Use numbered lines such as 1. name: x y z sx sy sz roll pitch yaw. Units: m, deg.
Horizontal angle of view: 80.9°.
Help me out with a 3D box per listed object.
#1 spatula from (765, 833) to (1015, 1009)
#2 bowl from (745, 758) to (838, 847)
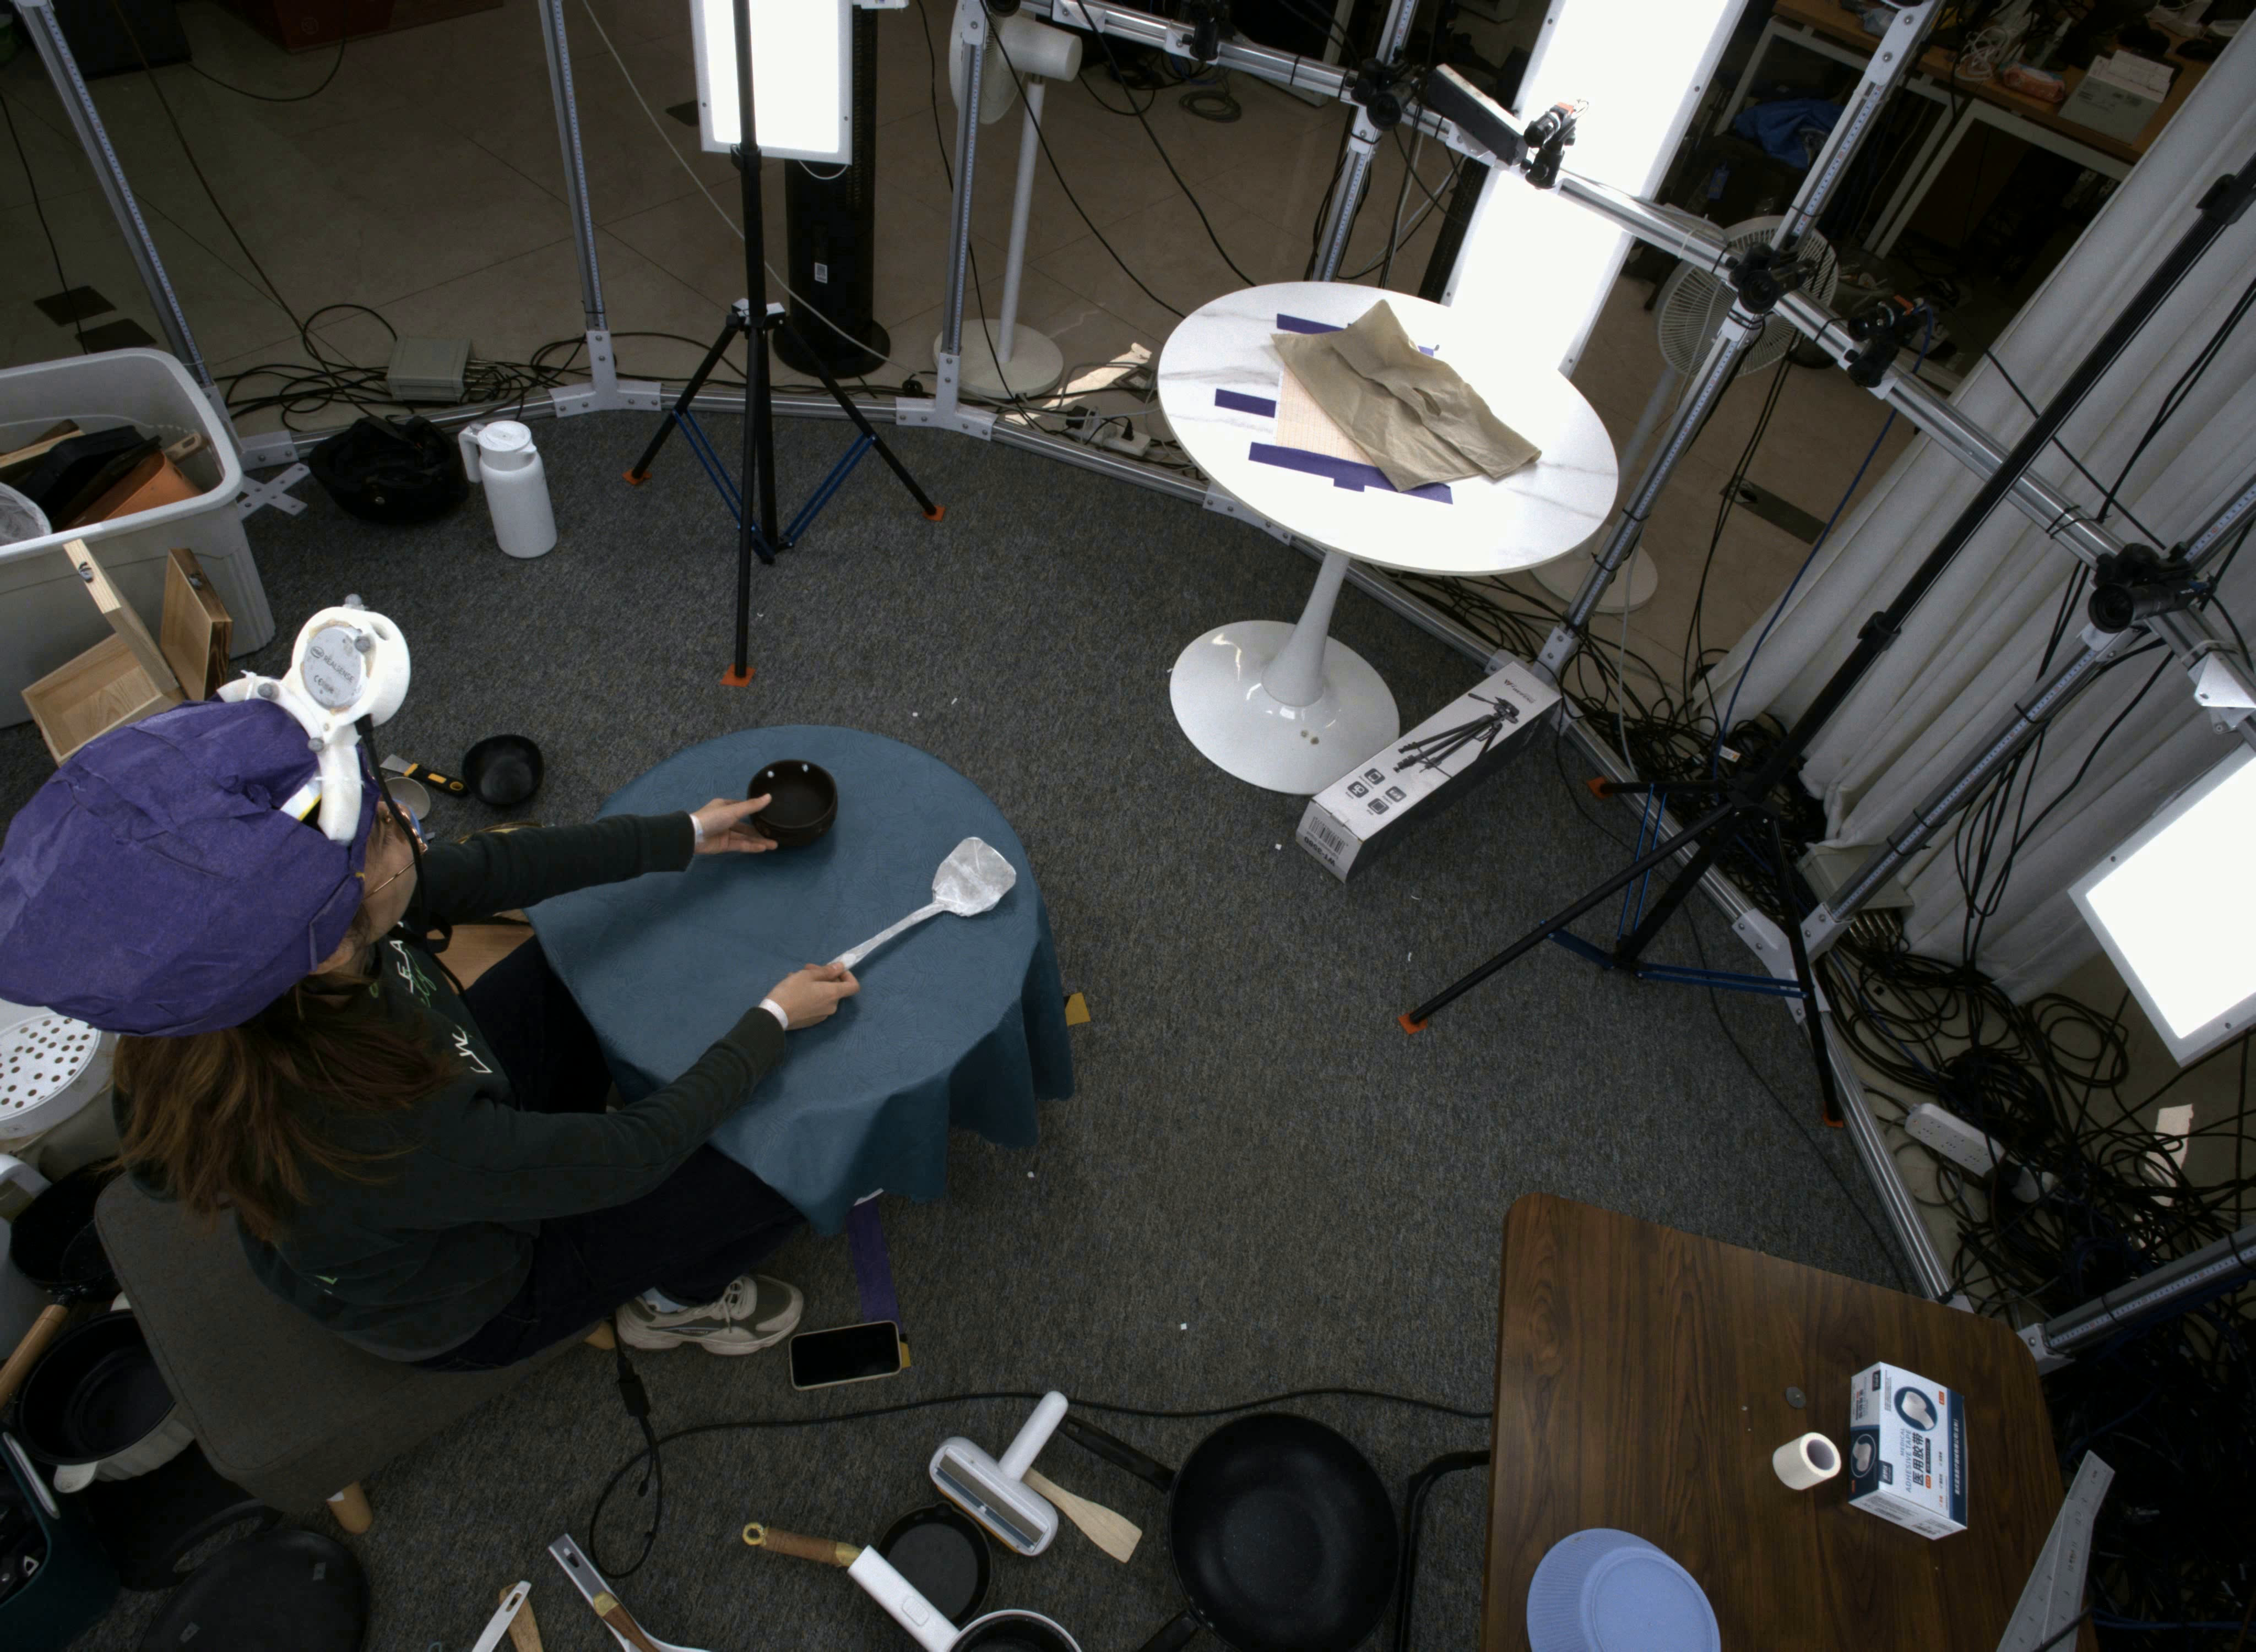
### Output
1. spatula: -0.299 0.125 1.637 0.096 0.045 0.366 43 53 18
2. bowl: -0.440 -0.024 1.697 0.117 0.071 0.116 6 53 -6
